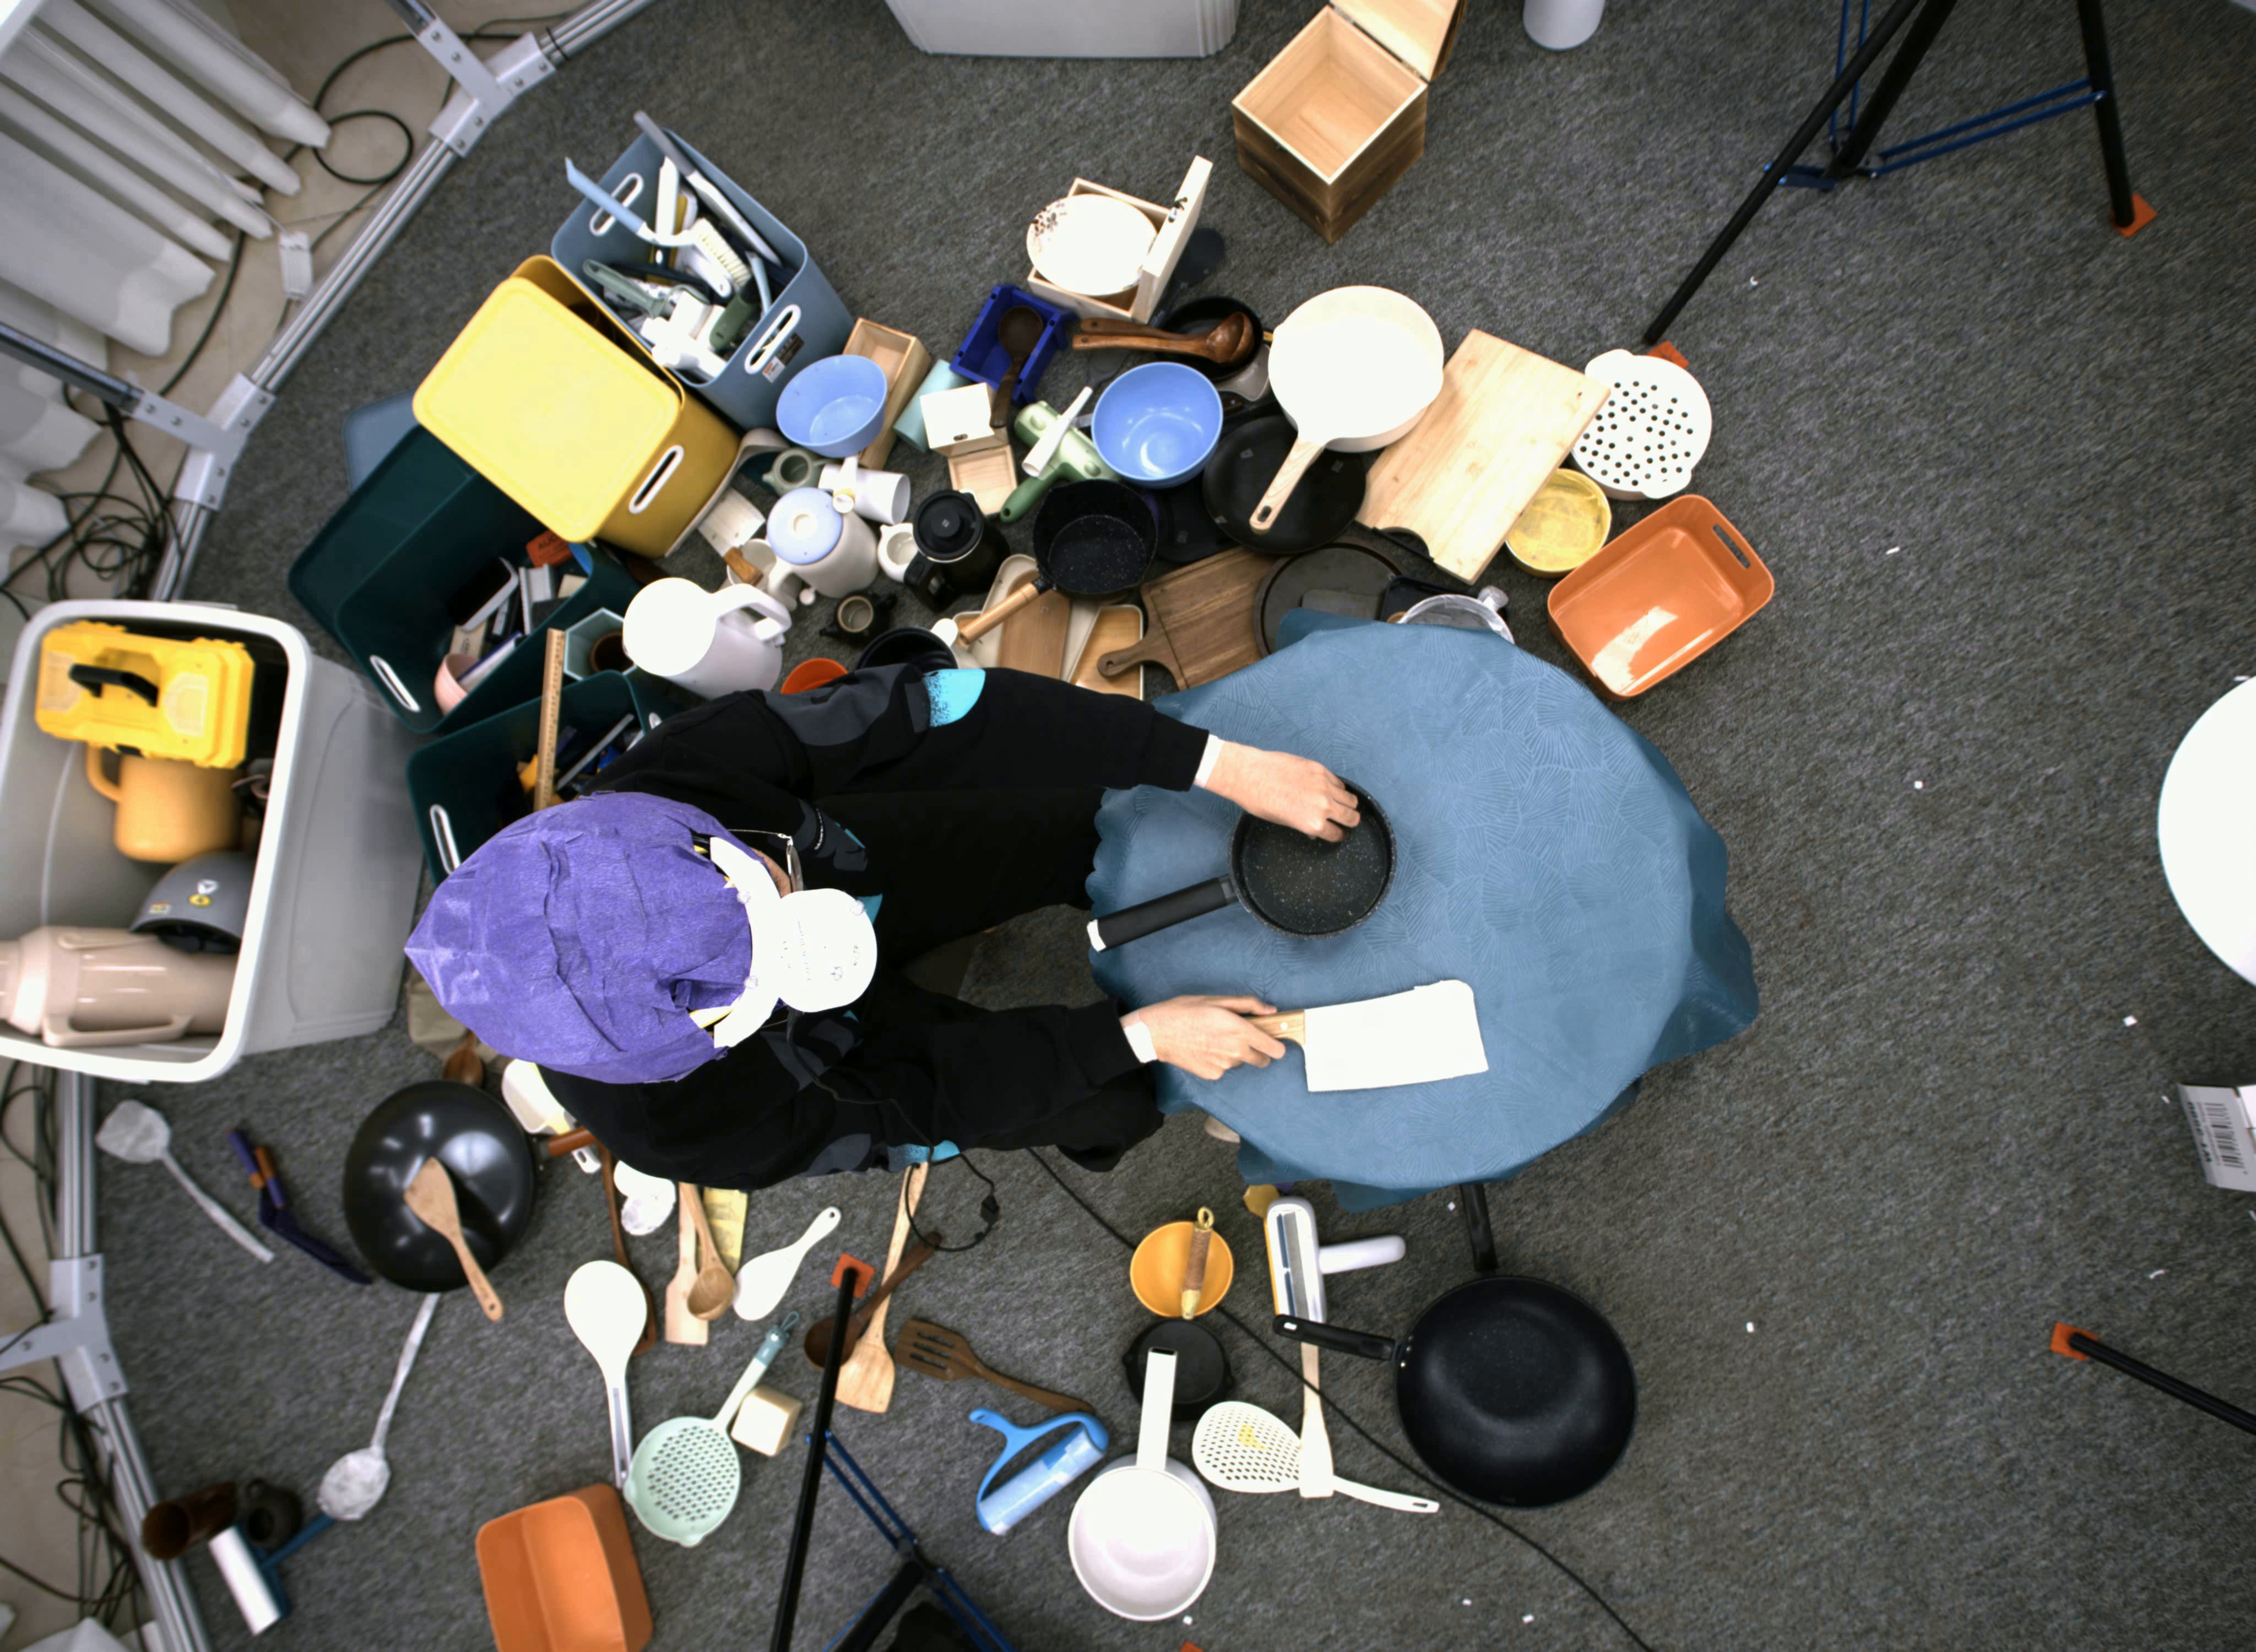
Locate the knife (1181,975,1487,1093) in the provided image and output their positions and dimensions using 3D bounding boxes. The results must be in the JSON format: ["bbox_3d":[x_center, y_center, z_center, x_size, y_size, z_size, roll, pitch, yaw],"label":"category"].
[{"bbox_3d":[0.213,0.219,1.445,0.316,0.021,0.114,-5,91,6],"label":"knife"}]

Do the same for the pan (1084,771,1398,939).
[{"bbox_3d":[0.118,0.057,1.446,0.330,0.086,0.170,-18,81,8],"label":"pan"}]
